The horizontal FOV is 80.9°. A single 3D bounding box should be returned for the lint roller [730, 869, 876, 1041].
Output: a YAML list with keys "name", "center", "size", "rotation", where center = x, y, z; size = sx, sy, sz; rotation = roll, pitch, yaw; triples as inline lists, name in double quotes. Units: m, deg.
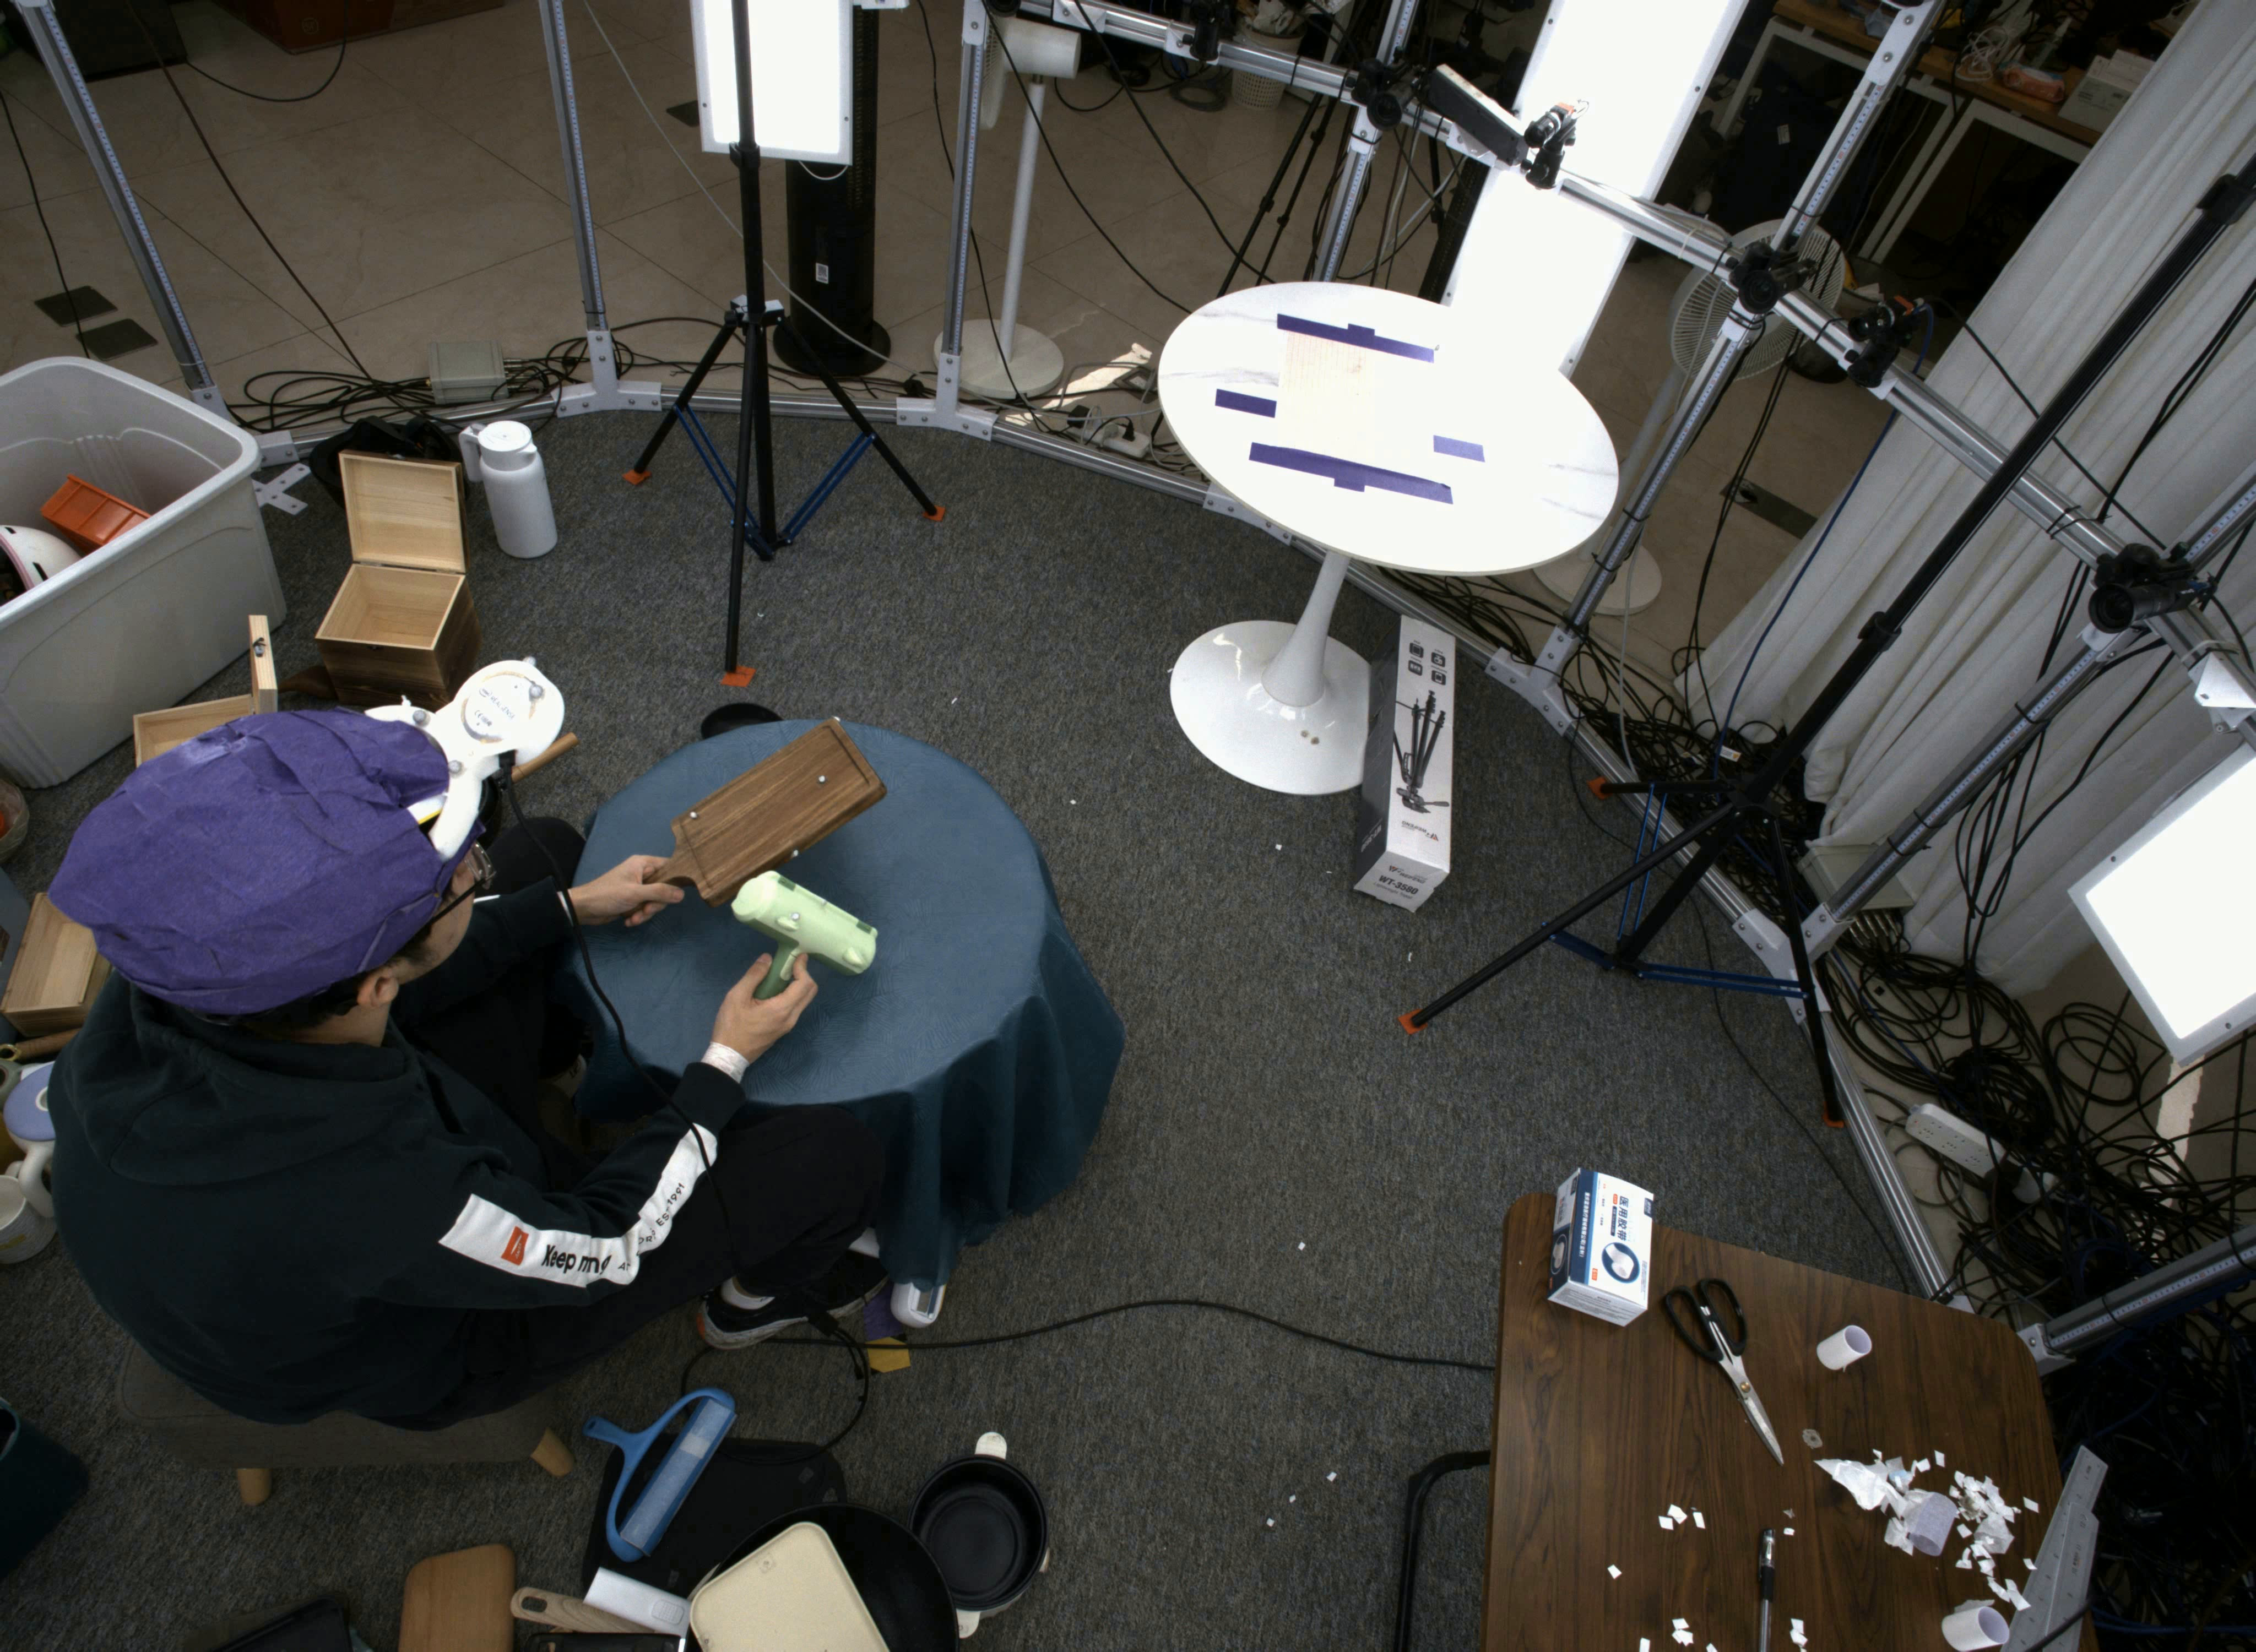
- name: "lint roller"
  center: [-0.391, 0.168, 1.499]
  size: [0.079, 0.206, 0.183]
  rotation: [13, 72, 36]

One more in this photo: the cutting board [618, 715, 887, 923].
- name: "cutting board"
  center: [-0.476, 0.004, 1.586]
  size: [0.351, 0.024, 0.193]
  rotation: [-35, 44, -10]
